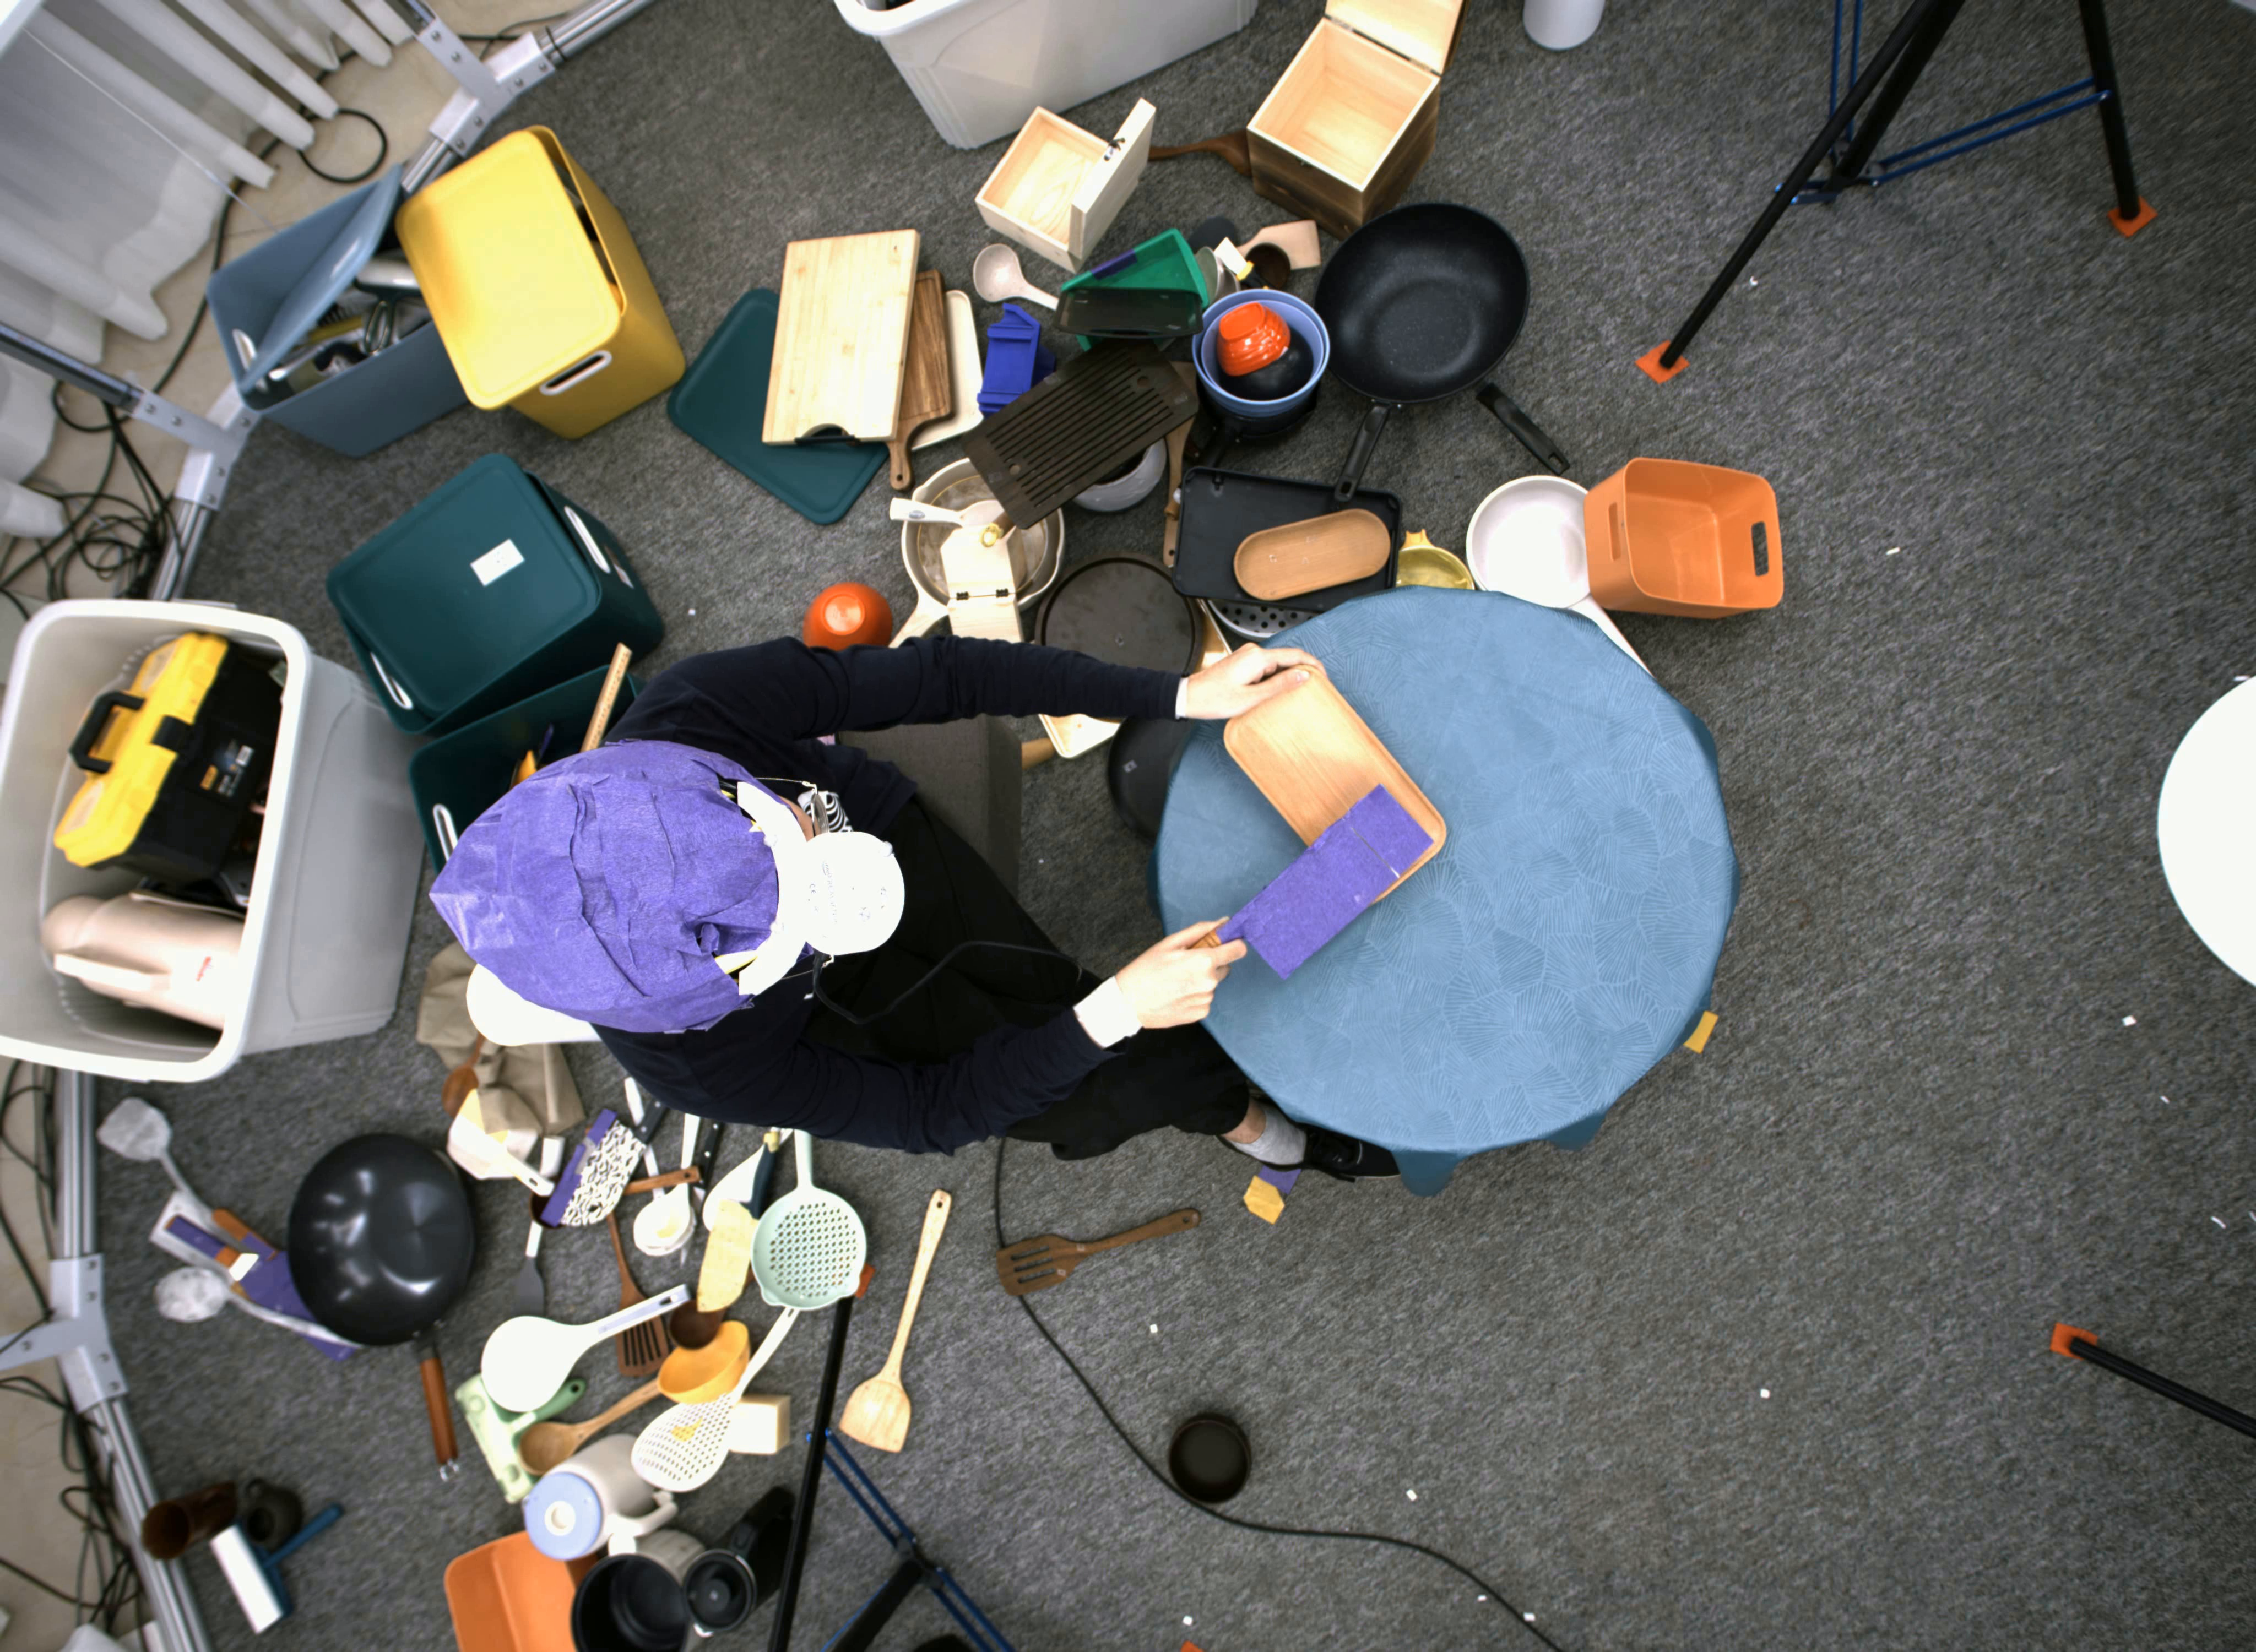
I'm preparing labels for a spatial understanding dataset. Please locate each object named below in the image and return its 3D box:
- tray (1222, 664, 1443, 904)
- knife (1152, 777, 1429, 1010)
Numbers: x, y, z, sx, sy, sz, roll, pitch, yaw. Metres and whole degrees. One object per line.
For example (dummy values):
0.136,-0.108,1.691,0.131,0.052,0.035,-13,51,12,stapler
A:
0.213,-0.043,1.434,0.131,0.022,0.252,-37,99,8,tray
0.166,0.091,1.387,0.317,0.032,0.104,-43,104,8,knife
